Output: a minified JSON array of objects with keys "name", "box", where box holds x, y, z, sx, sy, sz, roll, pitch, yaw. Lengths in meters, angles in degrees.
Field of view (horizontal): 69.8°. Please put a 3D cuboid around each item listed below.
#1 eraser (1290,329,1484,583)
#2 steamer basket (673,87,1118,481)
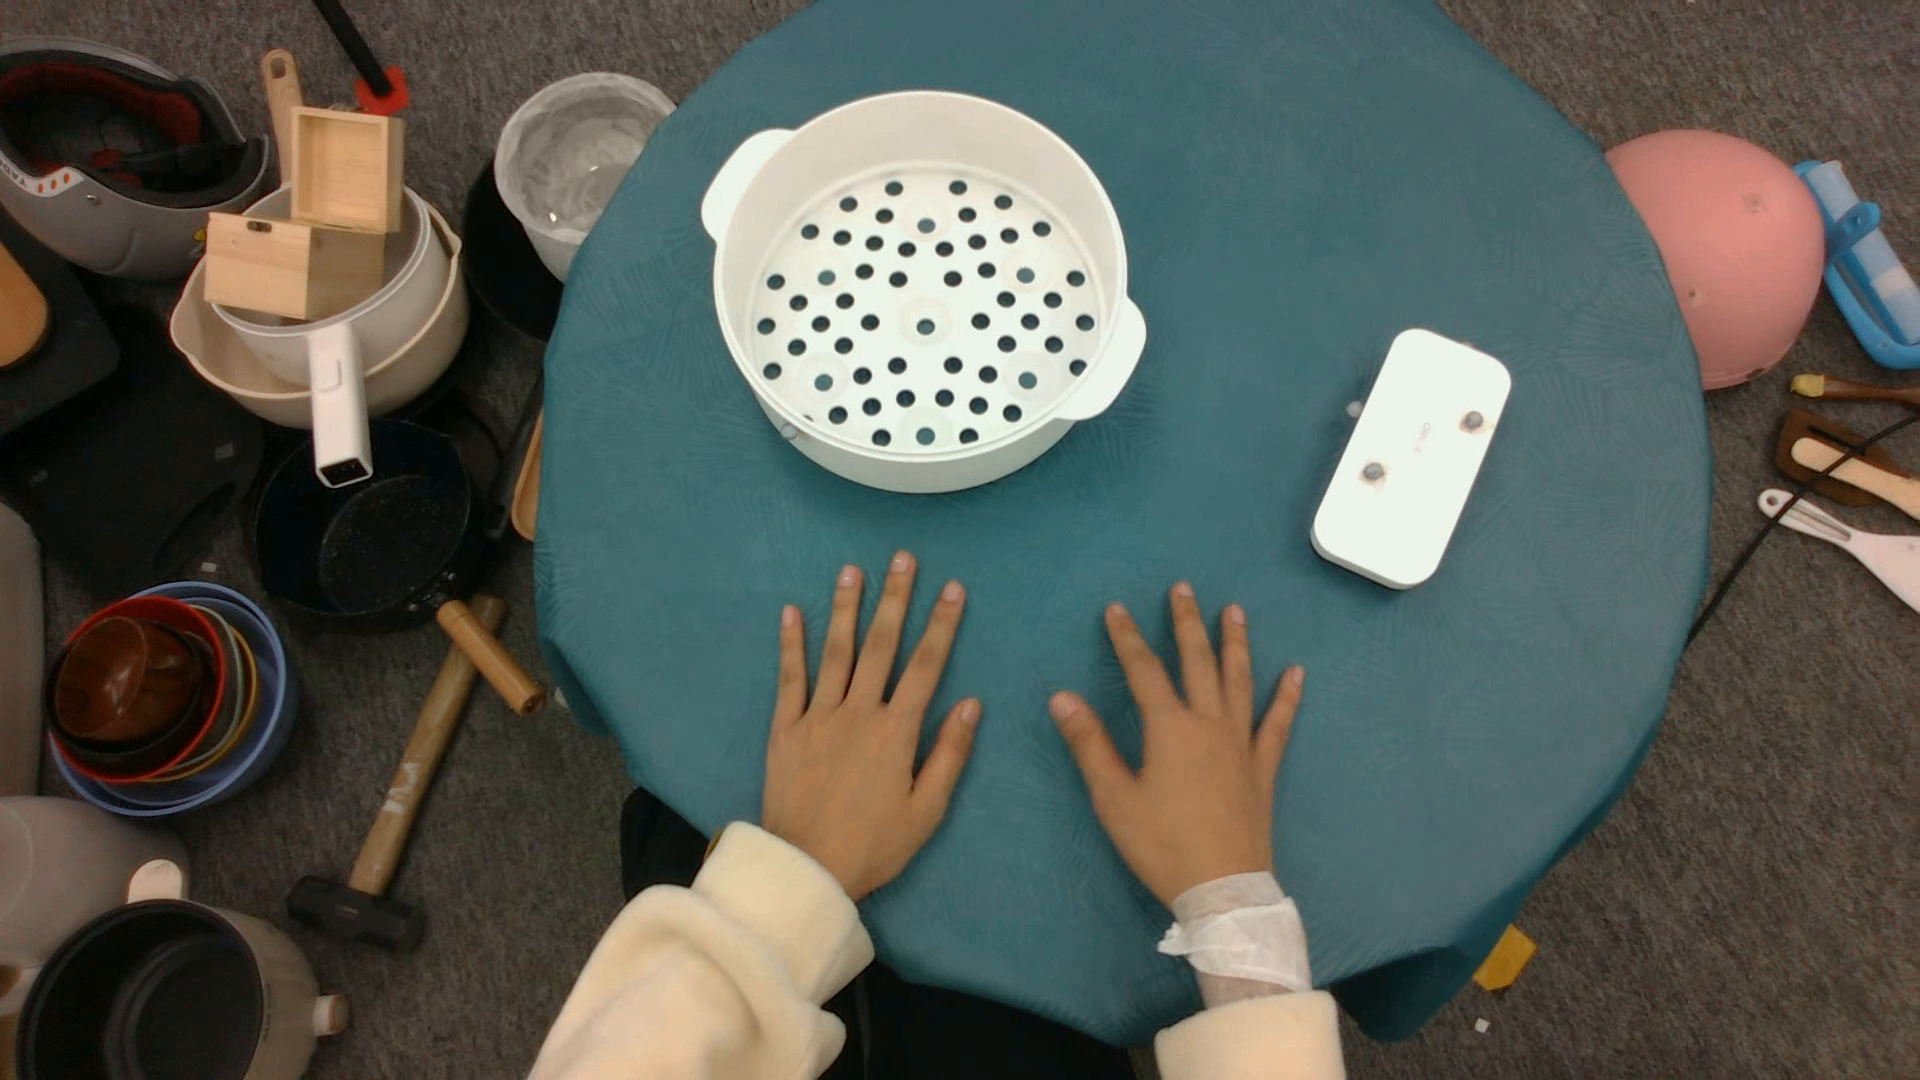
[{"name":"eraser","box":[0.211,-0.044,0.687,0.063,0.034,0.131,26,72,8]},{"name":"steamer basket","box":[-0.033,-0.127,0.697,0.230,0.069,0.202,27,73,10]}]
